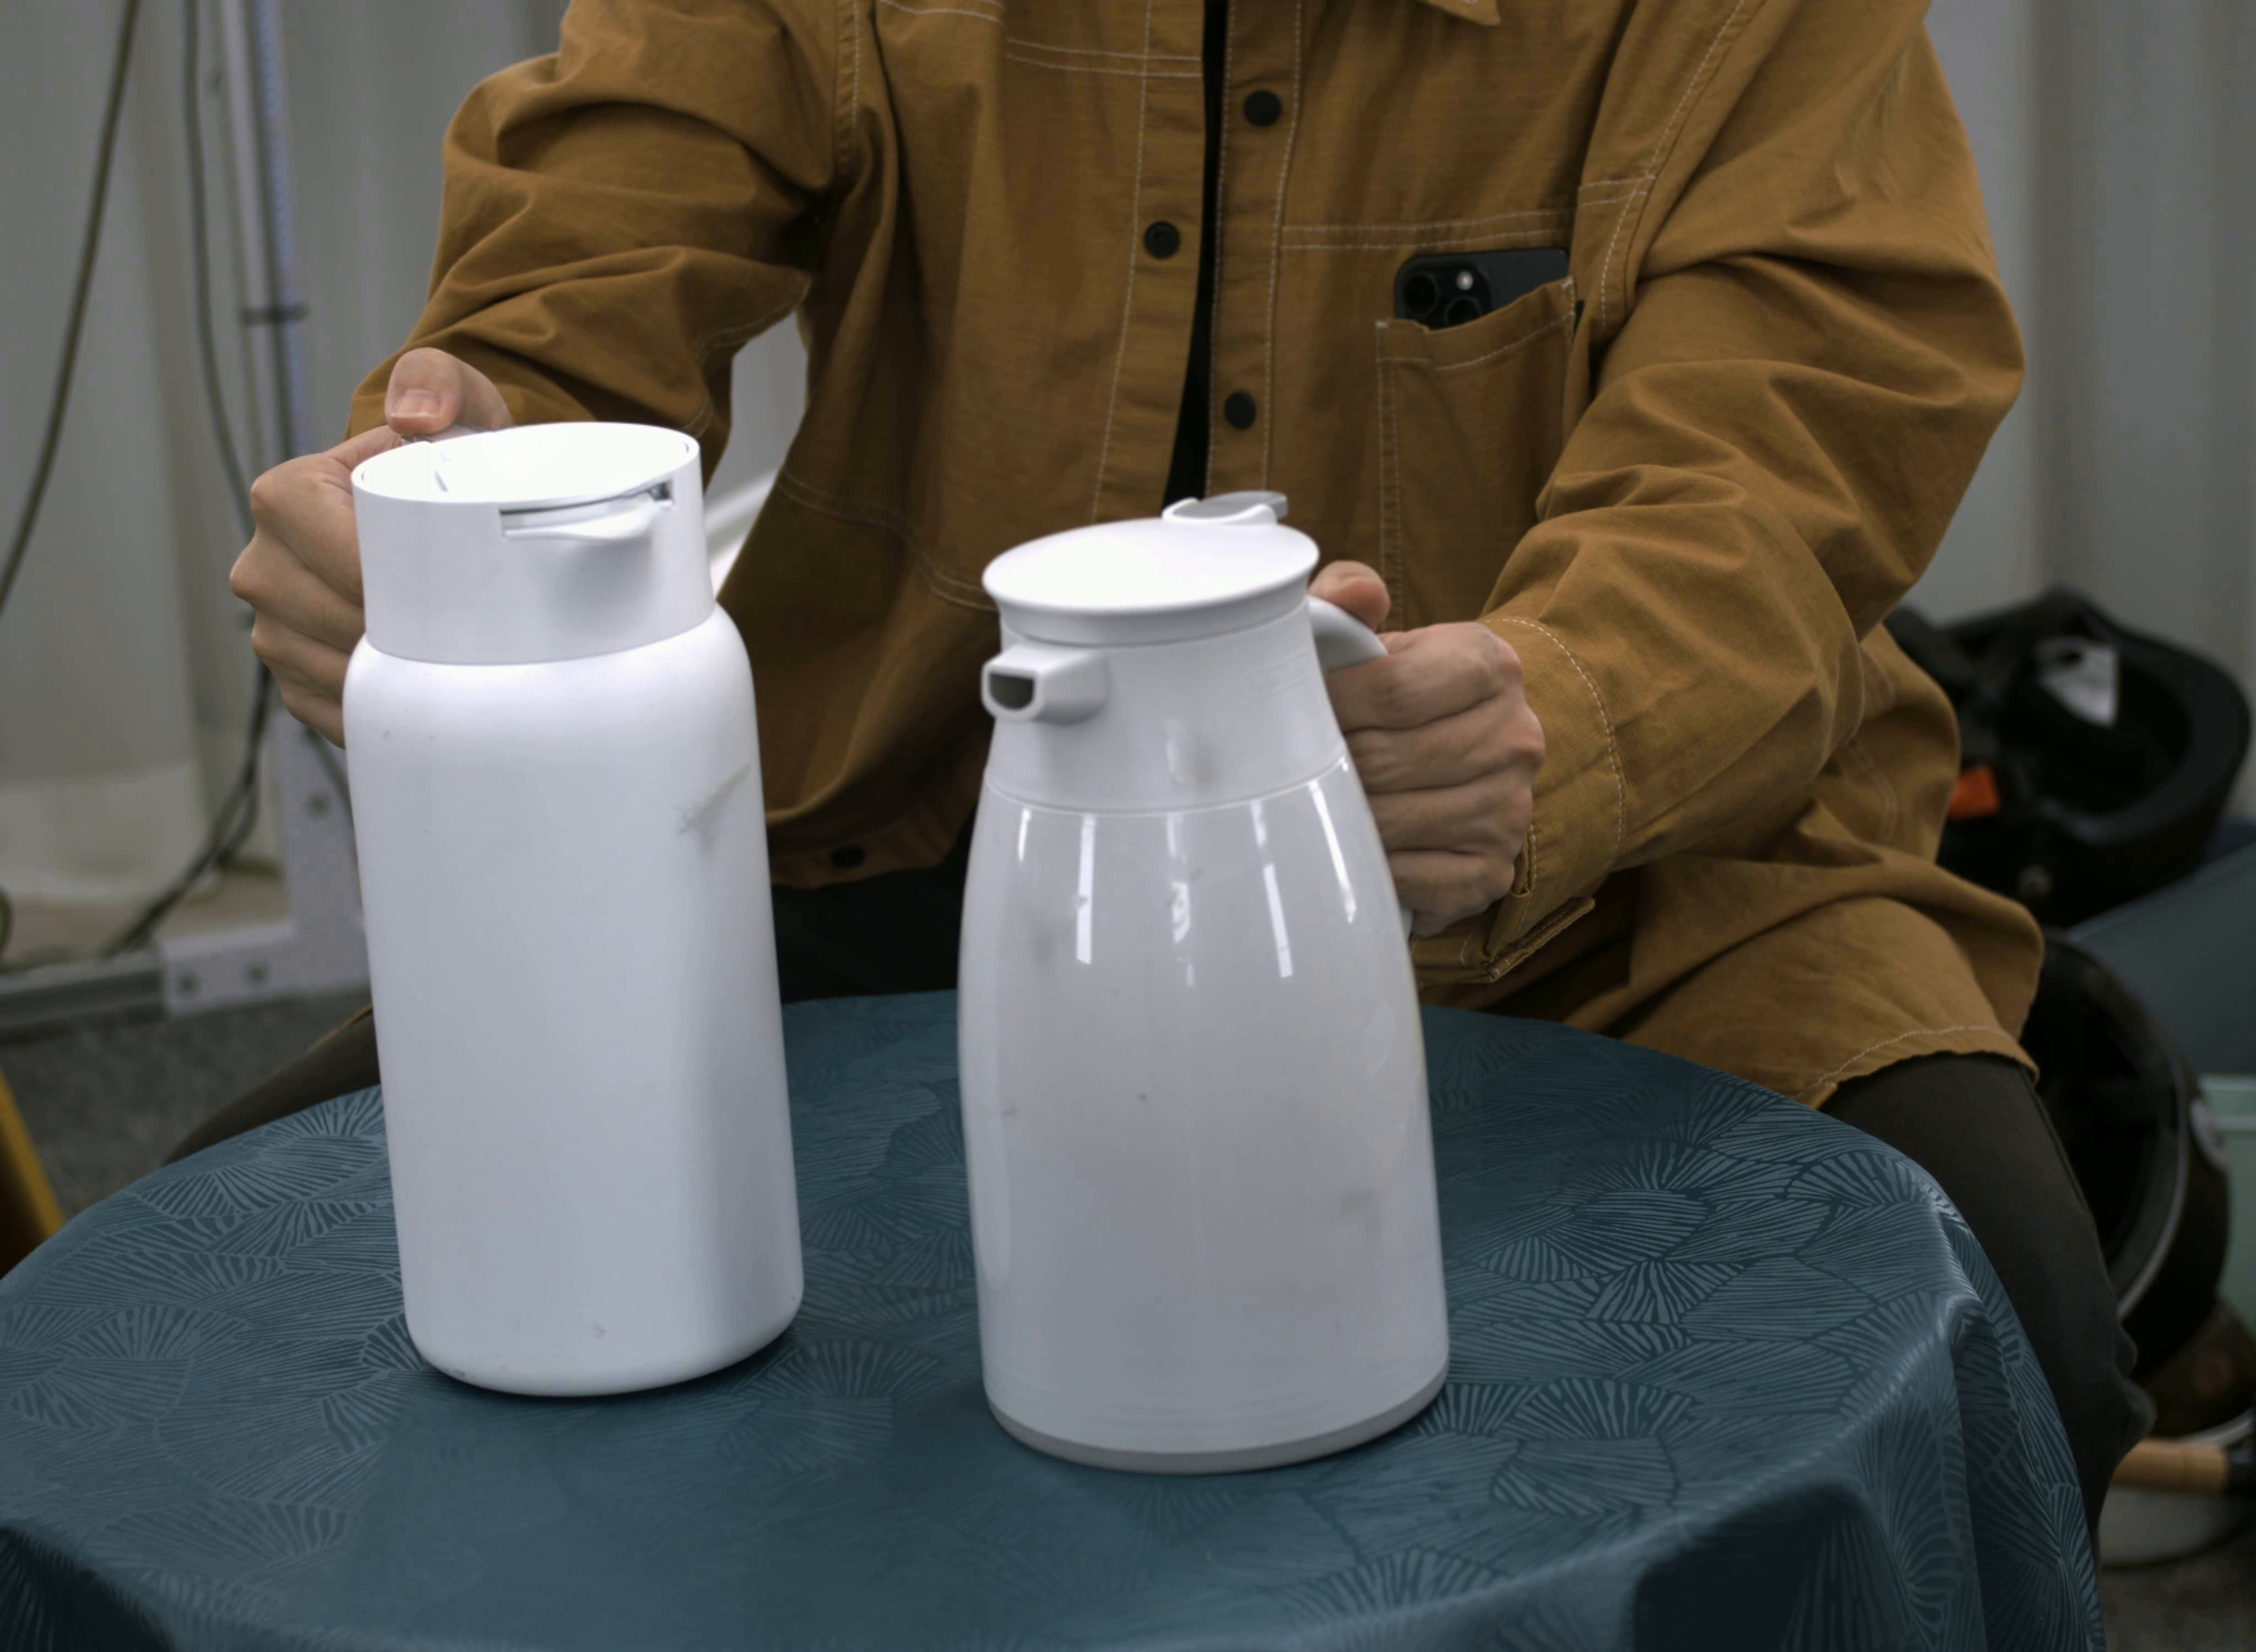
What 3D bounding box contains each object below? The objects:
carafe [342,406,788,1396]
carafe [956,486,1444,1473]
[{"bbox_3d":[-0.173,0.018,1.588,0.123,0.267,0.174,-14,19,-29],"label":"carafe"},{"bbox_3d":[0.026,0.033,1.522,0.133,0.247,0.168,8,19,37],"label":"carafe"}]
